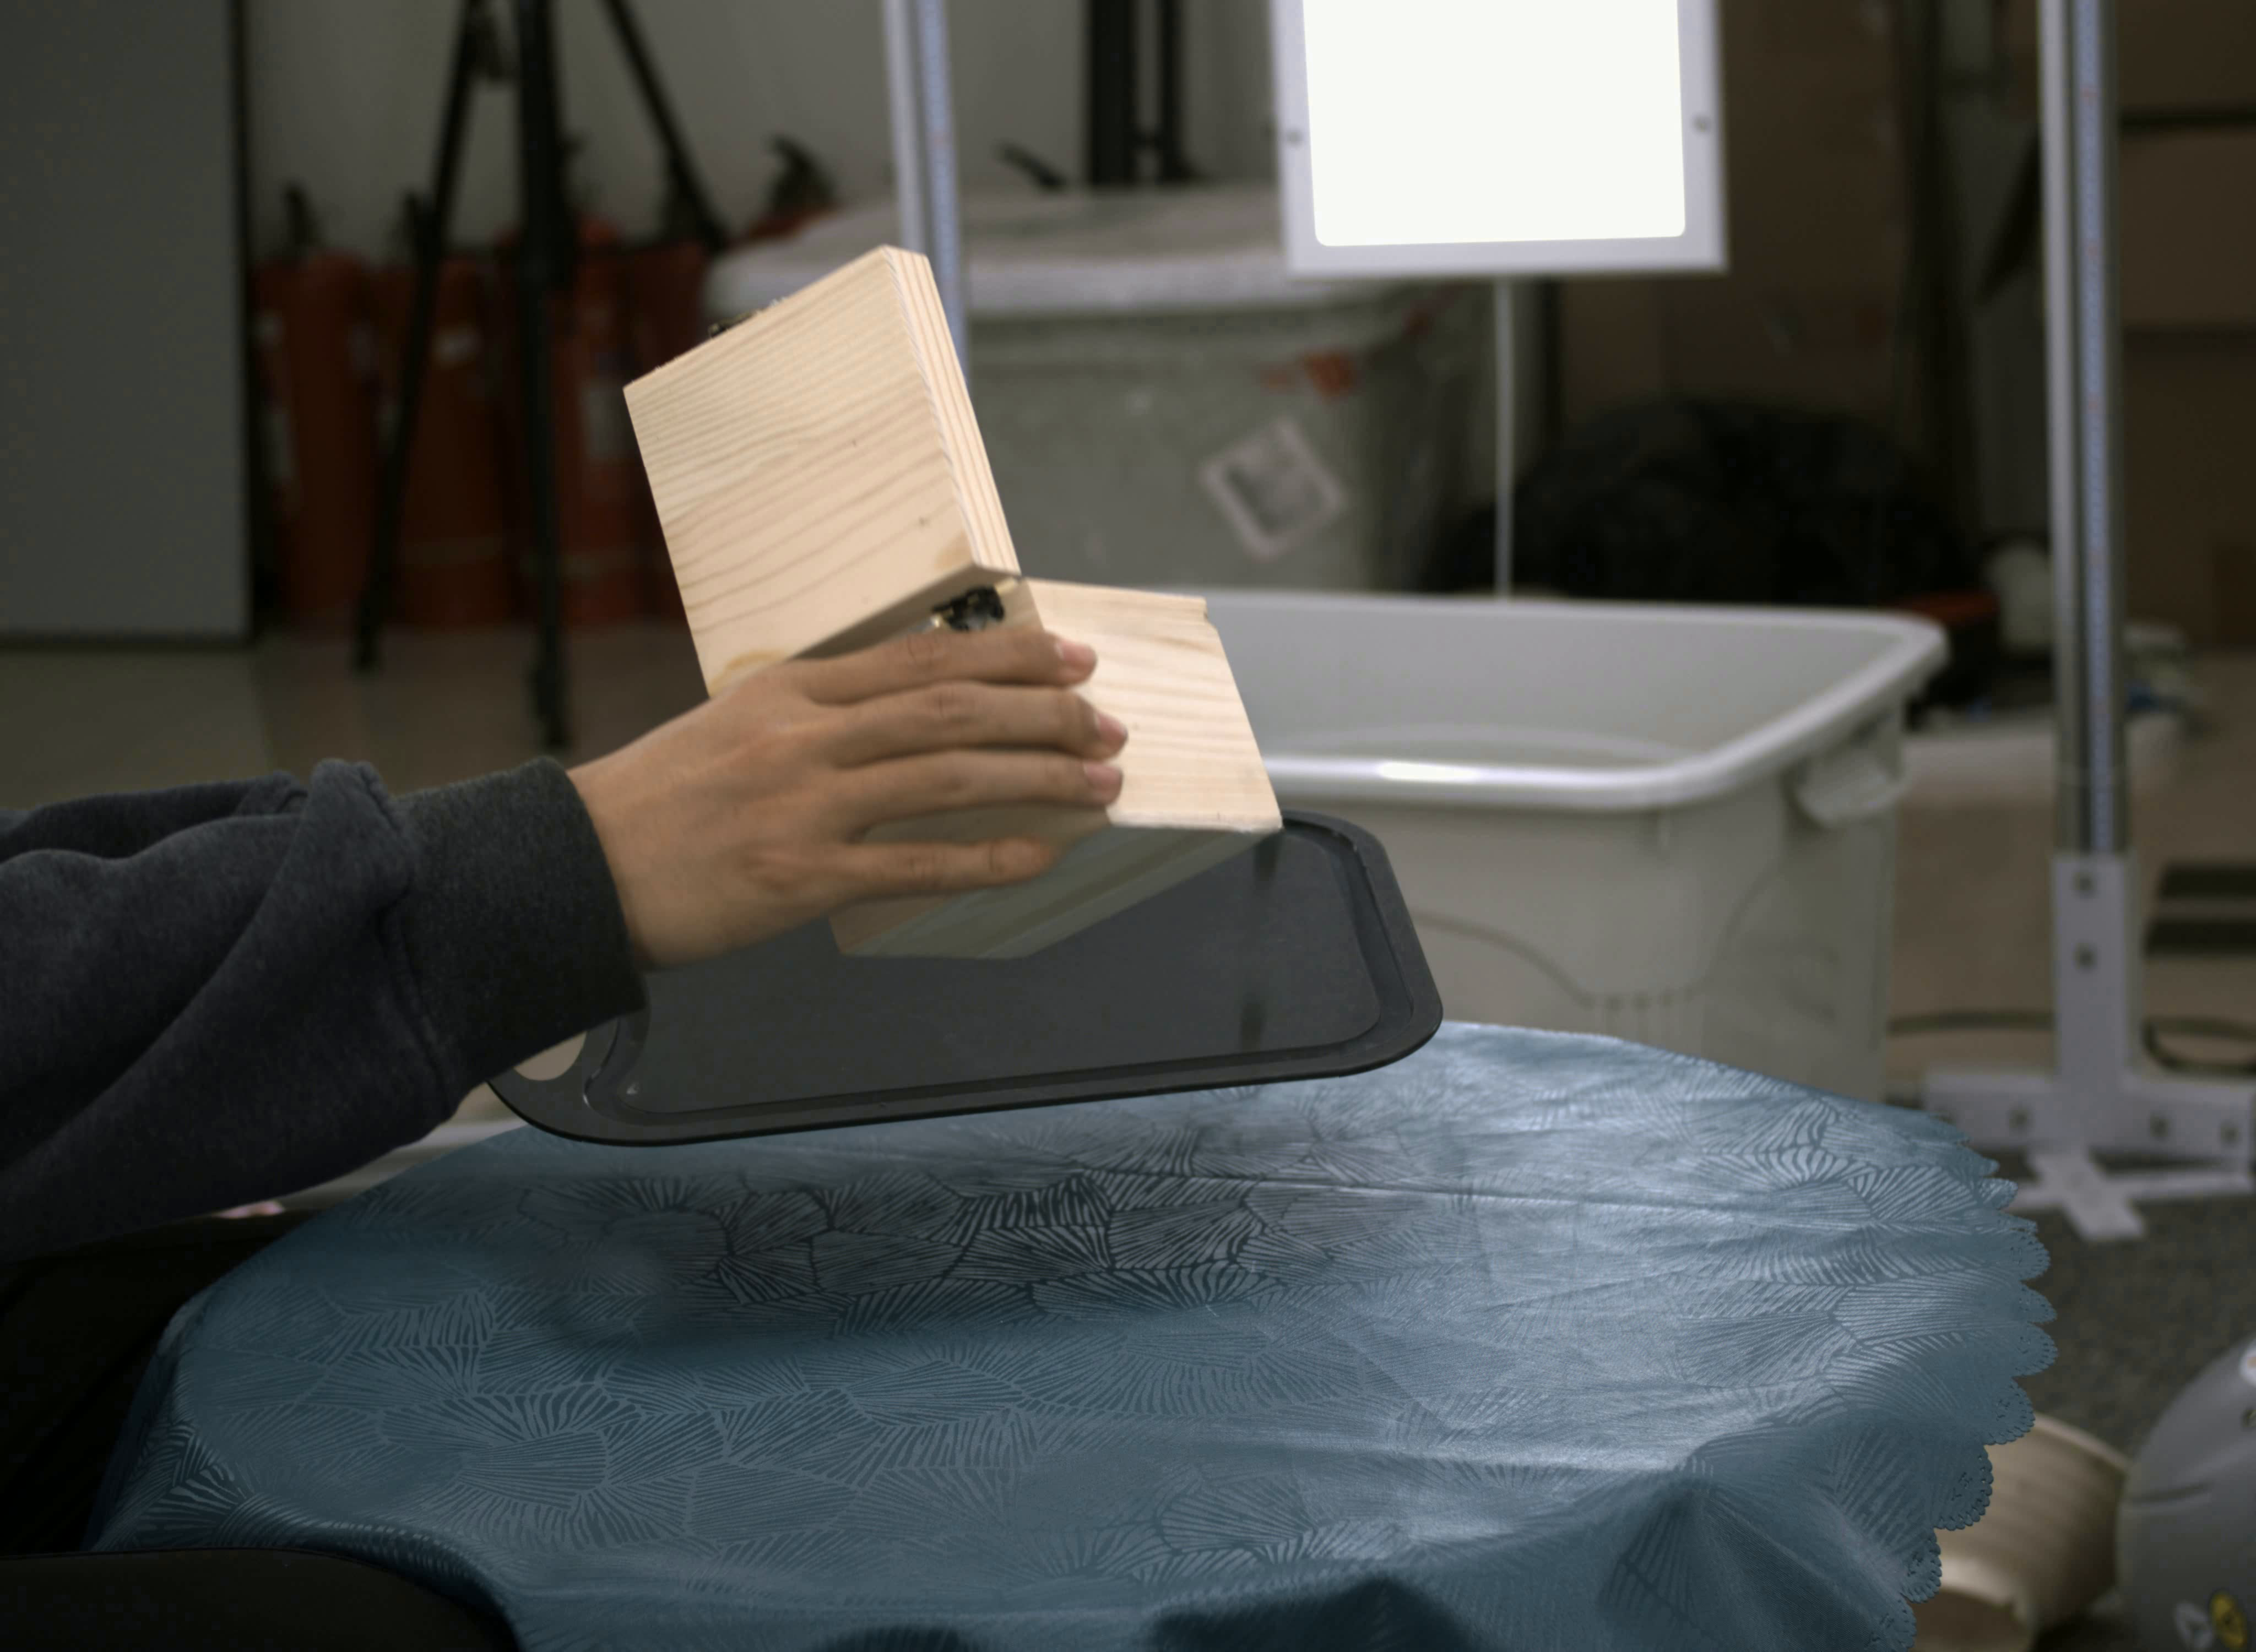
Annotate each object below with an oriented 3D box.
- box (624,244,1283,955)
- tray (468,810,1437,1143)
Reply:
[{"bbox_3d":[-0.051,-0.066,1.629,0.104,0.185,0.131,-24,-13,30],"label":"box"},{"bbox_3d":[-0.063,0.048,1.877,0.324,0.010,0.211,-6,24,-2],"label":"tray"}]
